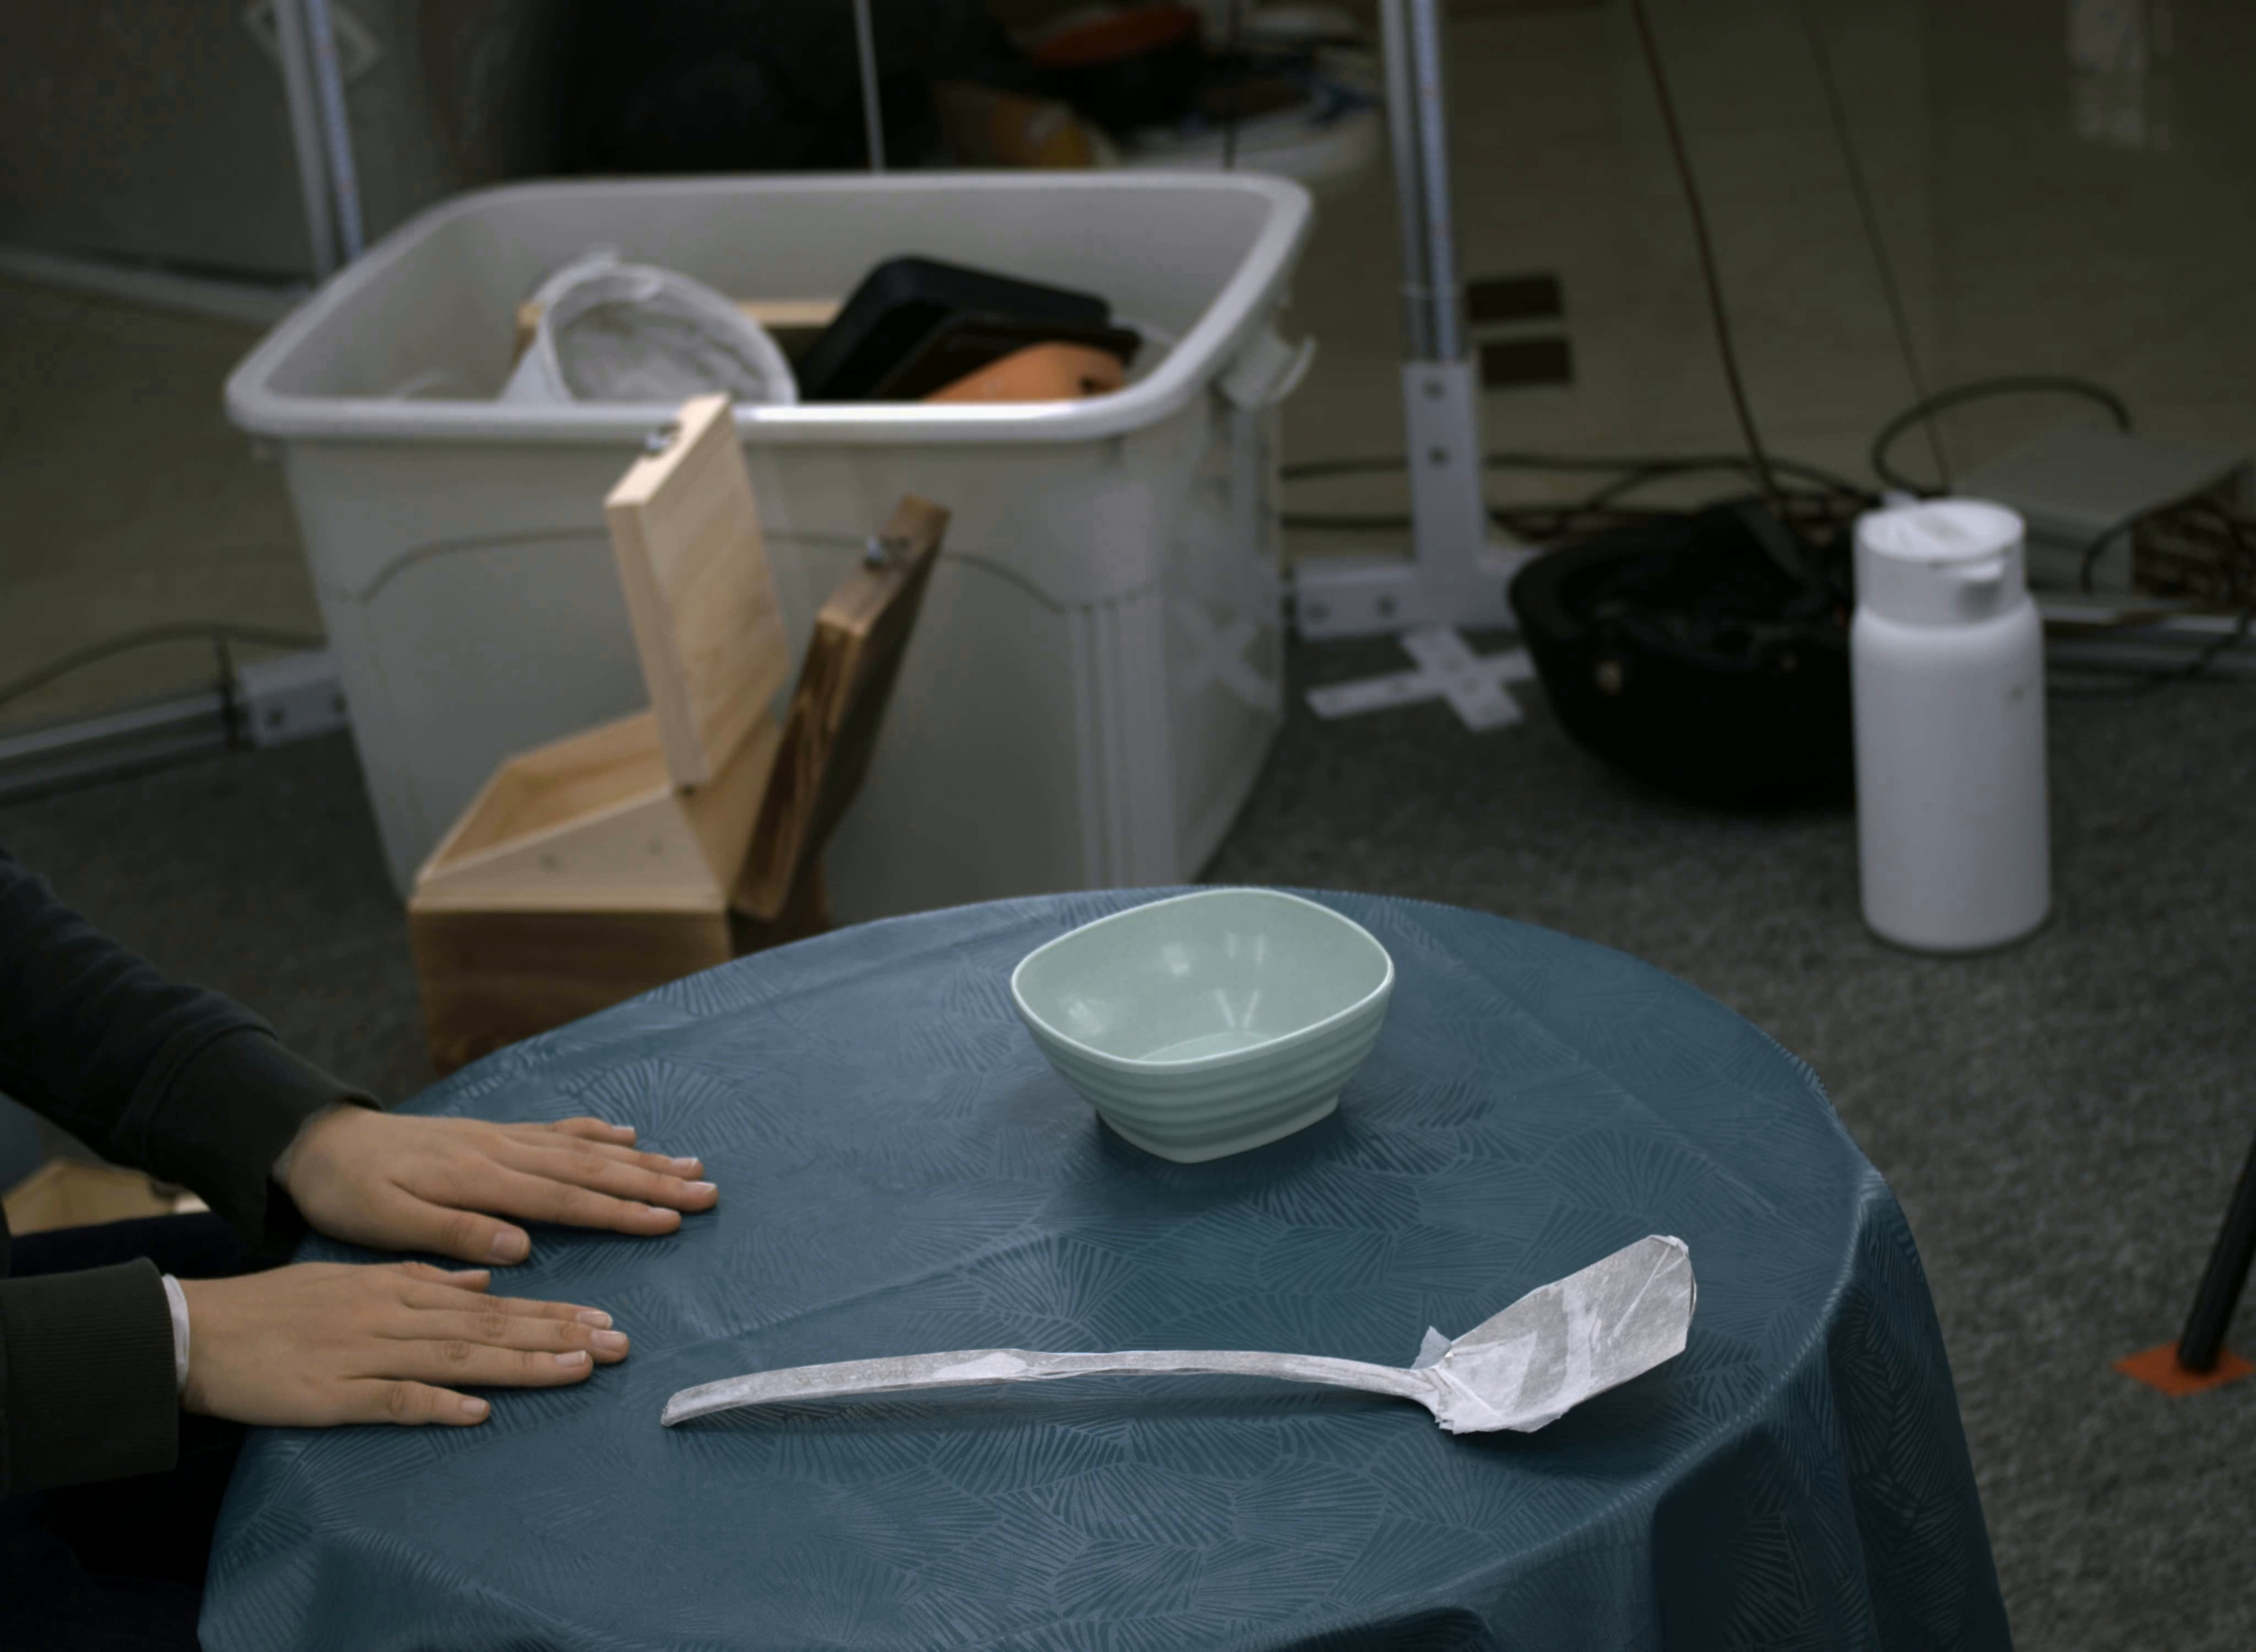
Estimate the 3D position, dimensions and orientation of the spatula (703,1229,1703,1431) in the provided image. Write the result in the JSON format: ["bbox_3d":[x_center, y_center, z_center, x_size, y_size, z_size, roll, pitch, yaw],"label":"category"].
[{"bbox_3d":[0.021,0.185,2.003,0.364,0.045,0.097,-2,27,10],"label":"spatula"}]

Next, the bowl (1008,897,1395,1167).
[{"bbox_3d":[0.029,0.085,2.197,0.151,0.059,0.149,-3,25,1],"label":"bowl"}]
